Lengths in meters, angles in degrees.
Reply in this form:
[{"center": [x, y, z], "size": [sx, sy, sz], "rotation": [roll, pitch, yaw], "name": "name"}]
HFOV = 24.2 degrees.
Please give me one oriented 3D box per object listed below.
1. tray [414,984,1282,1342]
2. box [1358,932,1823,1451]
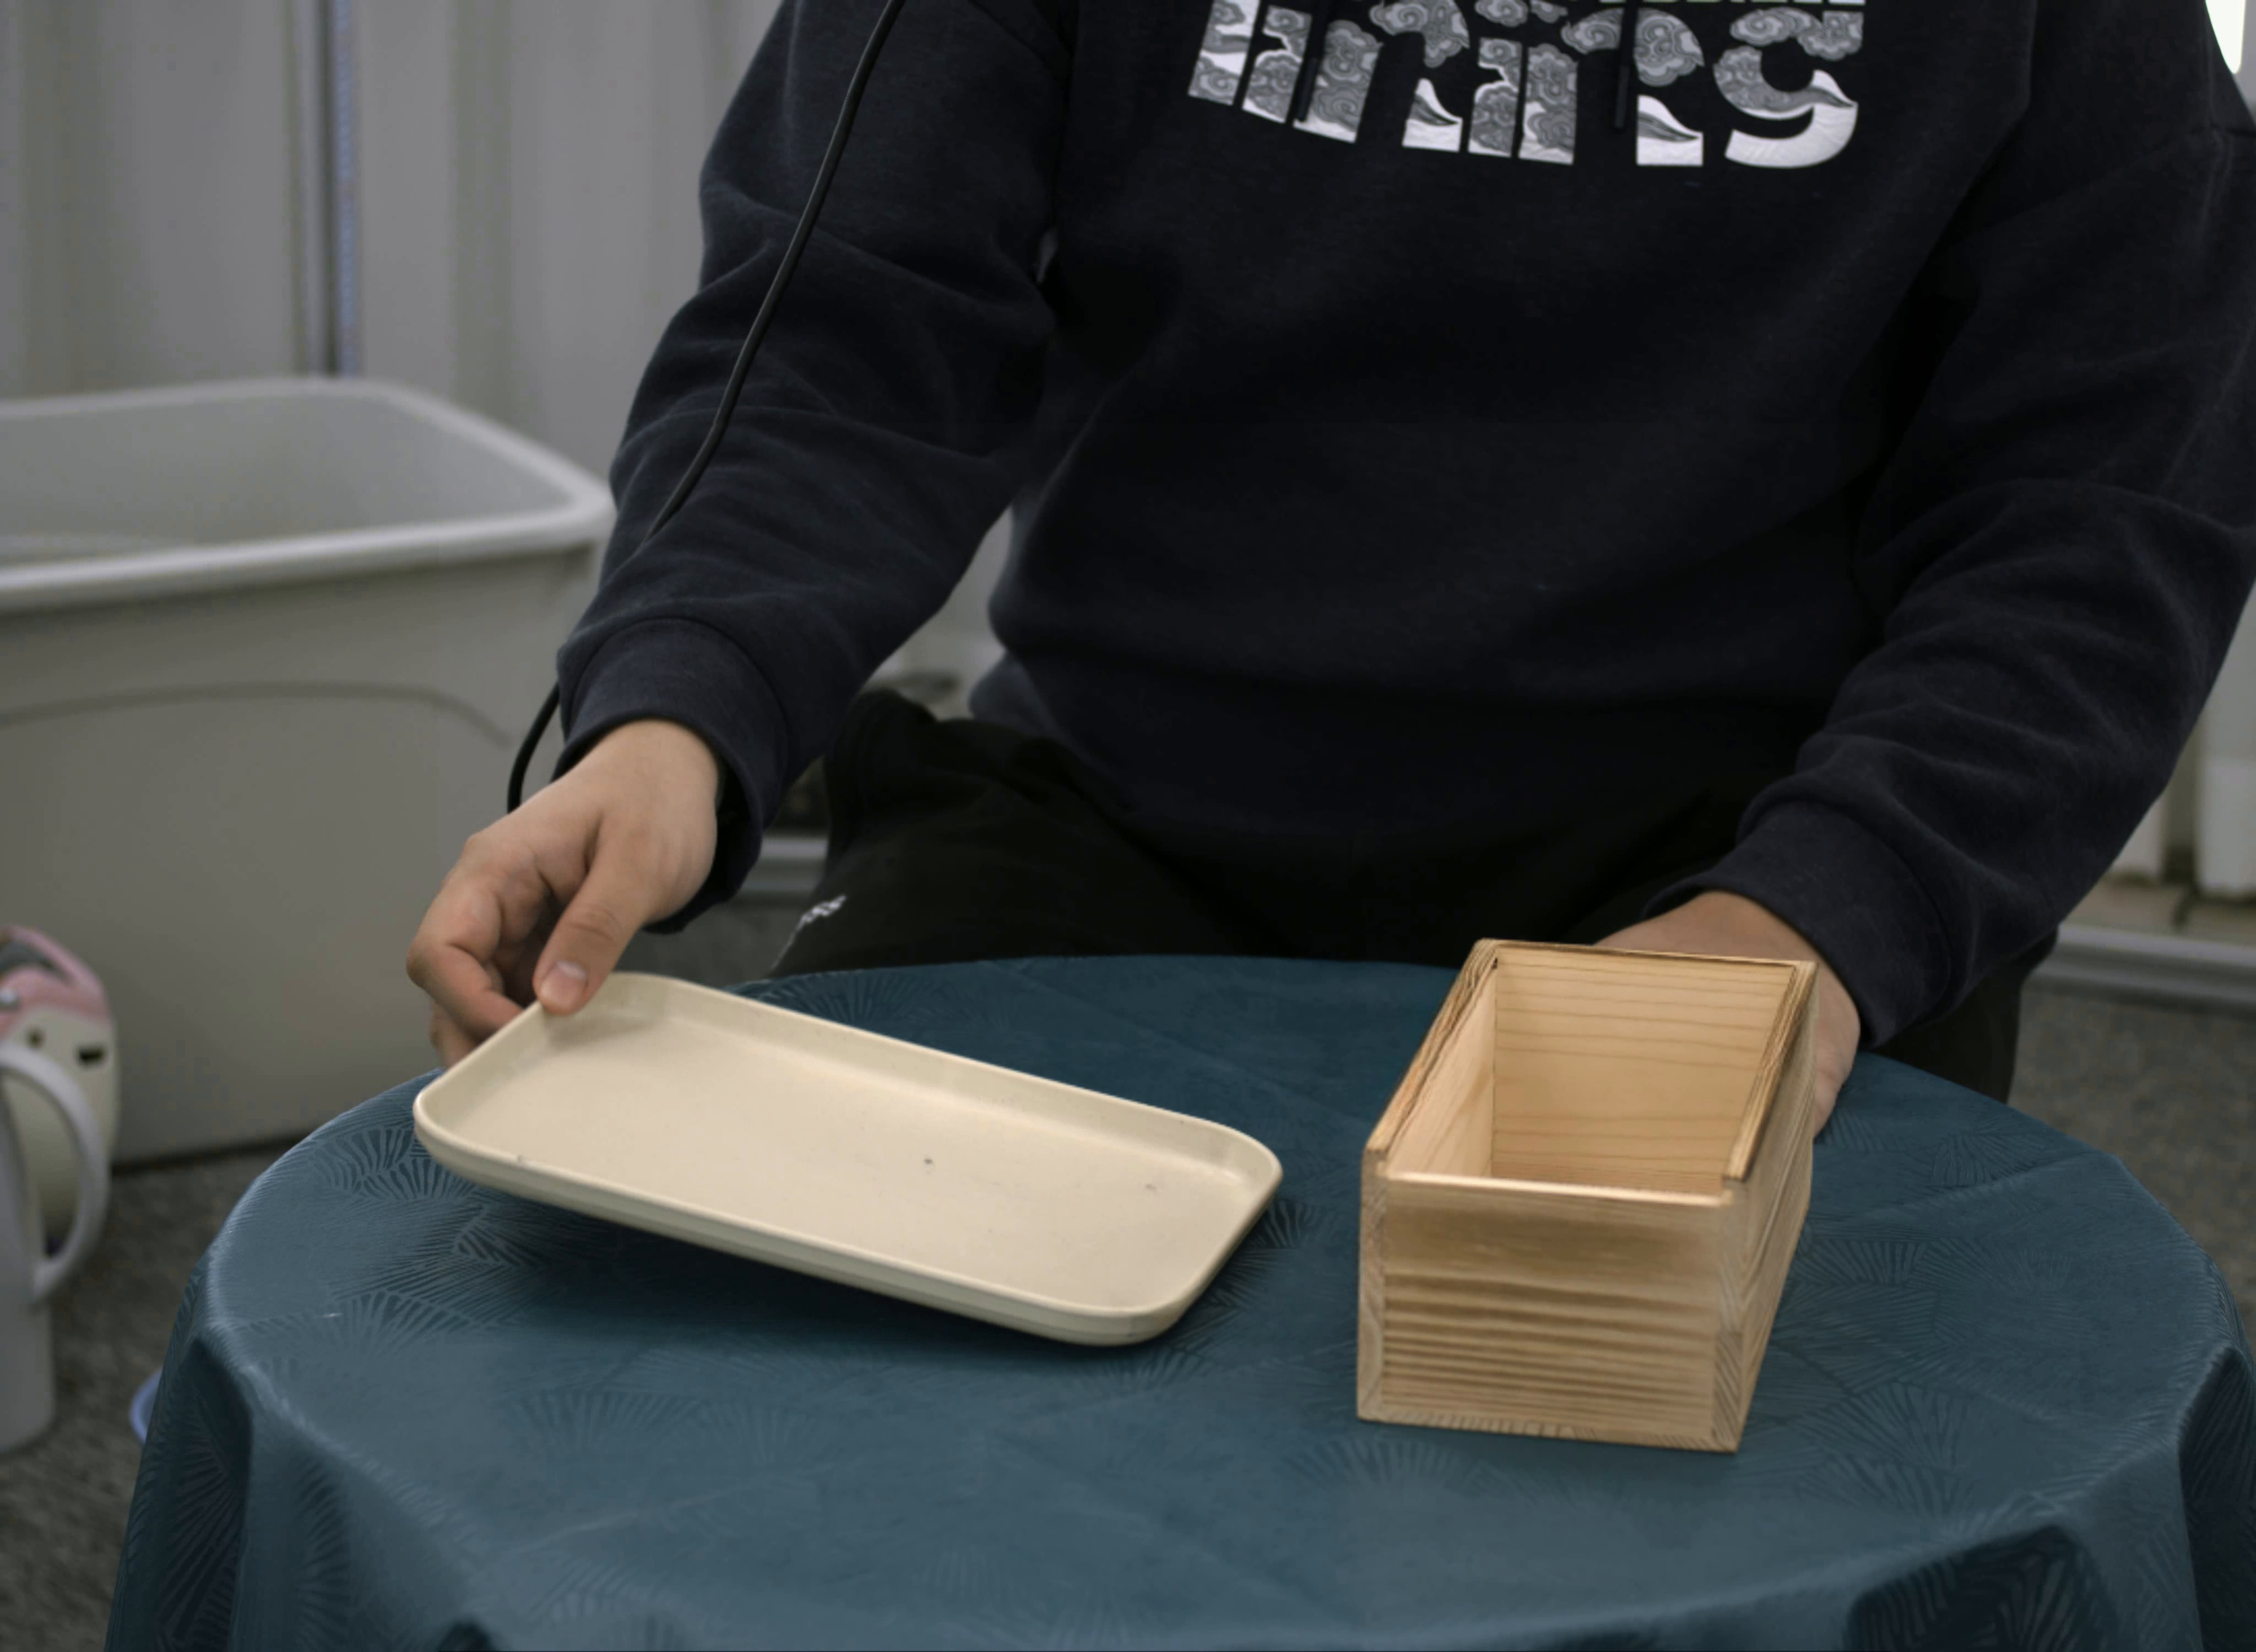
[{"center": [-0.082, 0.100, 1.575], "size": [0.238, 0.017, 0.171], "rotation": [13, 17, 12], "name": "tray"}, {"center": [0.137, 0.101, 1.523], "size": [0.107, 0.081, 0.211], "rotation": [4, 16, 11], "name": "box"}]
